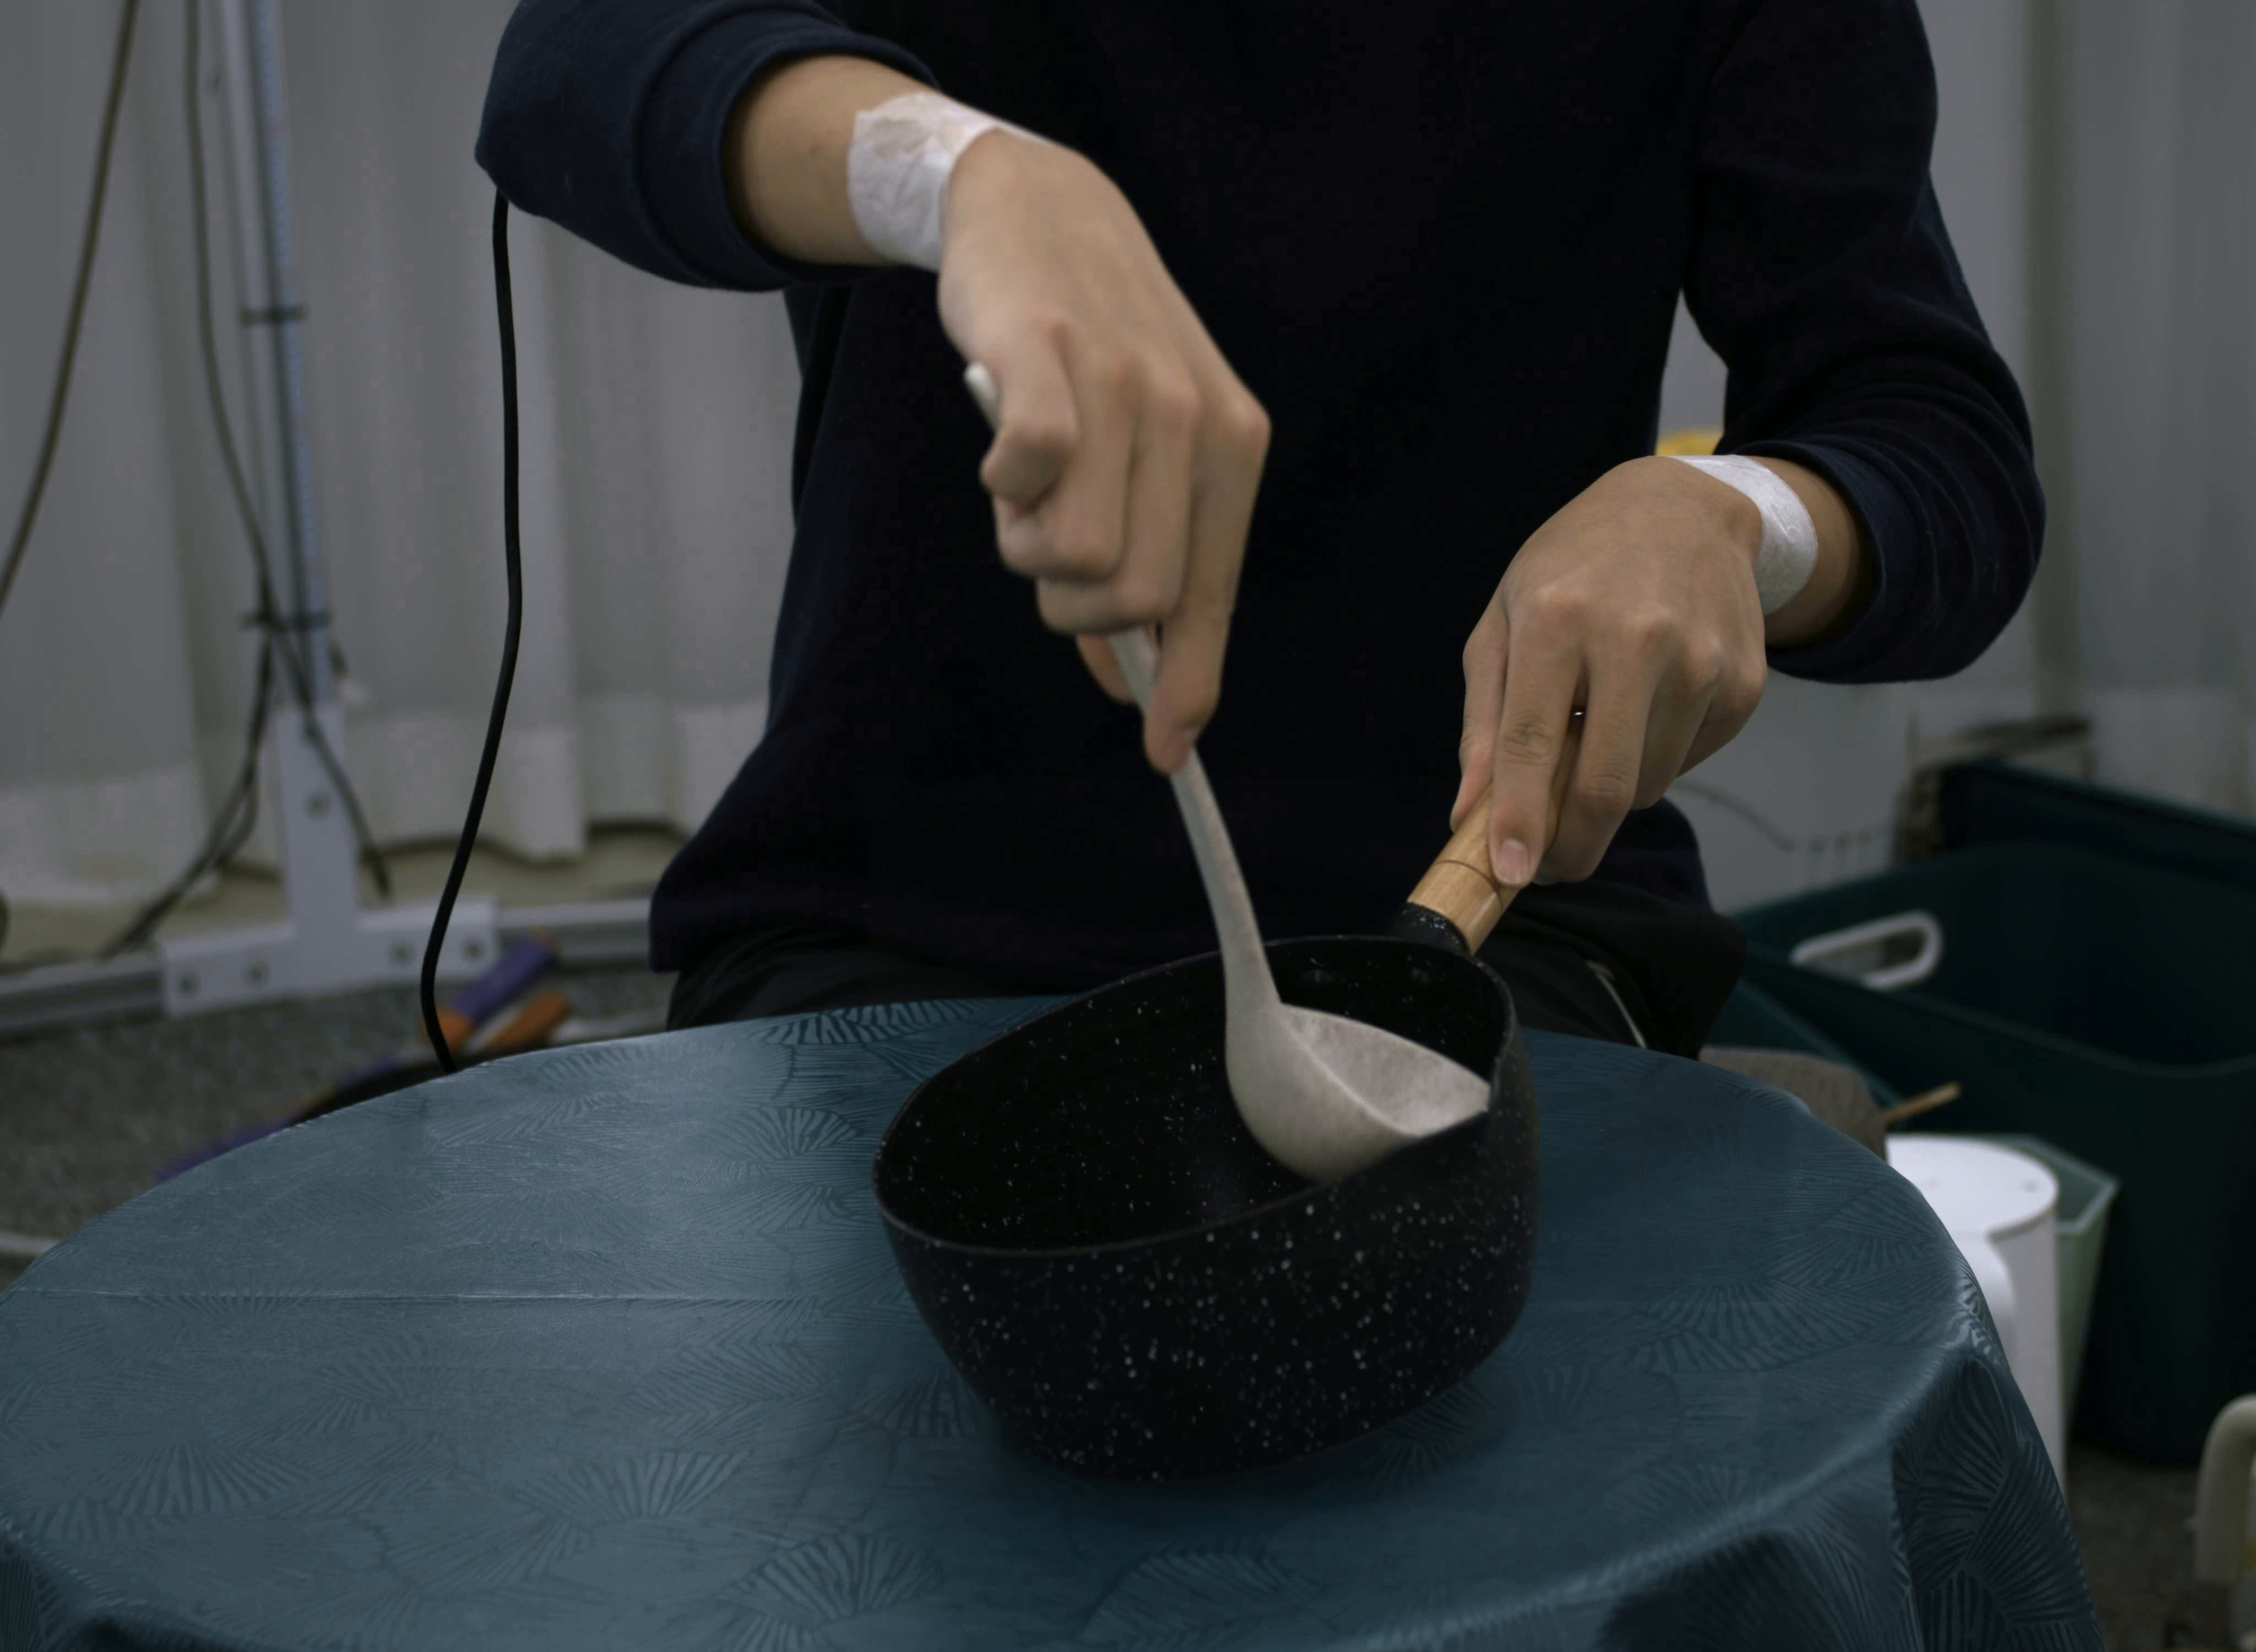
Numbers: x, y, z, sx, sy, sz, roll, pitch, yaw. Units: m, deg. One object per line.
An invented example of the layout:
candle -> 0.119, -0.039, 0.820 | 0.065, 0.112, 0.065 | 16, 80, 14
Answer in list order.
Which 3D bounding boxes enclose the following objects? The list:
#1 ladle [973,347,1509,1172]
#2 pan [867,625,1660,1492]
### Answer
ladle -> 0.032, -0.019, 1.425 | 0.069, 0.272, 0.090 | -25, 29, -11
pan -> 0.068, 0.063, 1.565 | 0.208, 0.107, 0.344 | -2, 26, 38
